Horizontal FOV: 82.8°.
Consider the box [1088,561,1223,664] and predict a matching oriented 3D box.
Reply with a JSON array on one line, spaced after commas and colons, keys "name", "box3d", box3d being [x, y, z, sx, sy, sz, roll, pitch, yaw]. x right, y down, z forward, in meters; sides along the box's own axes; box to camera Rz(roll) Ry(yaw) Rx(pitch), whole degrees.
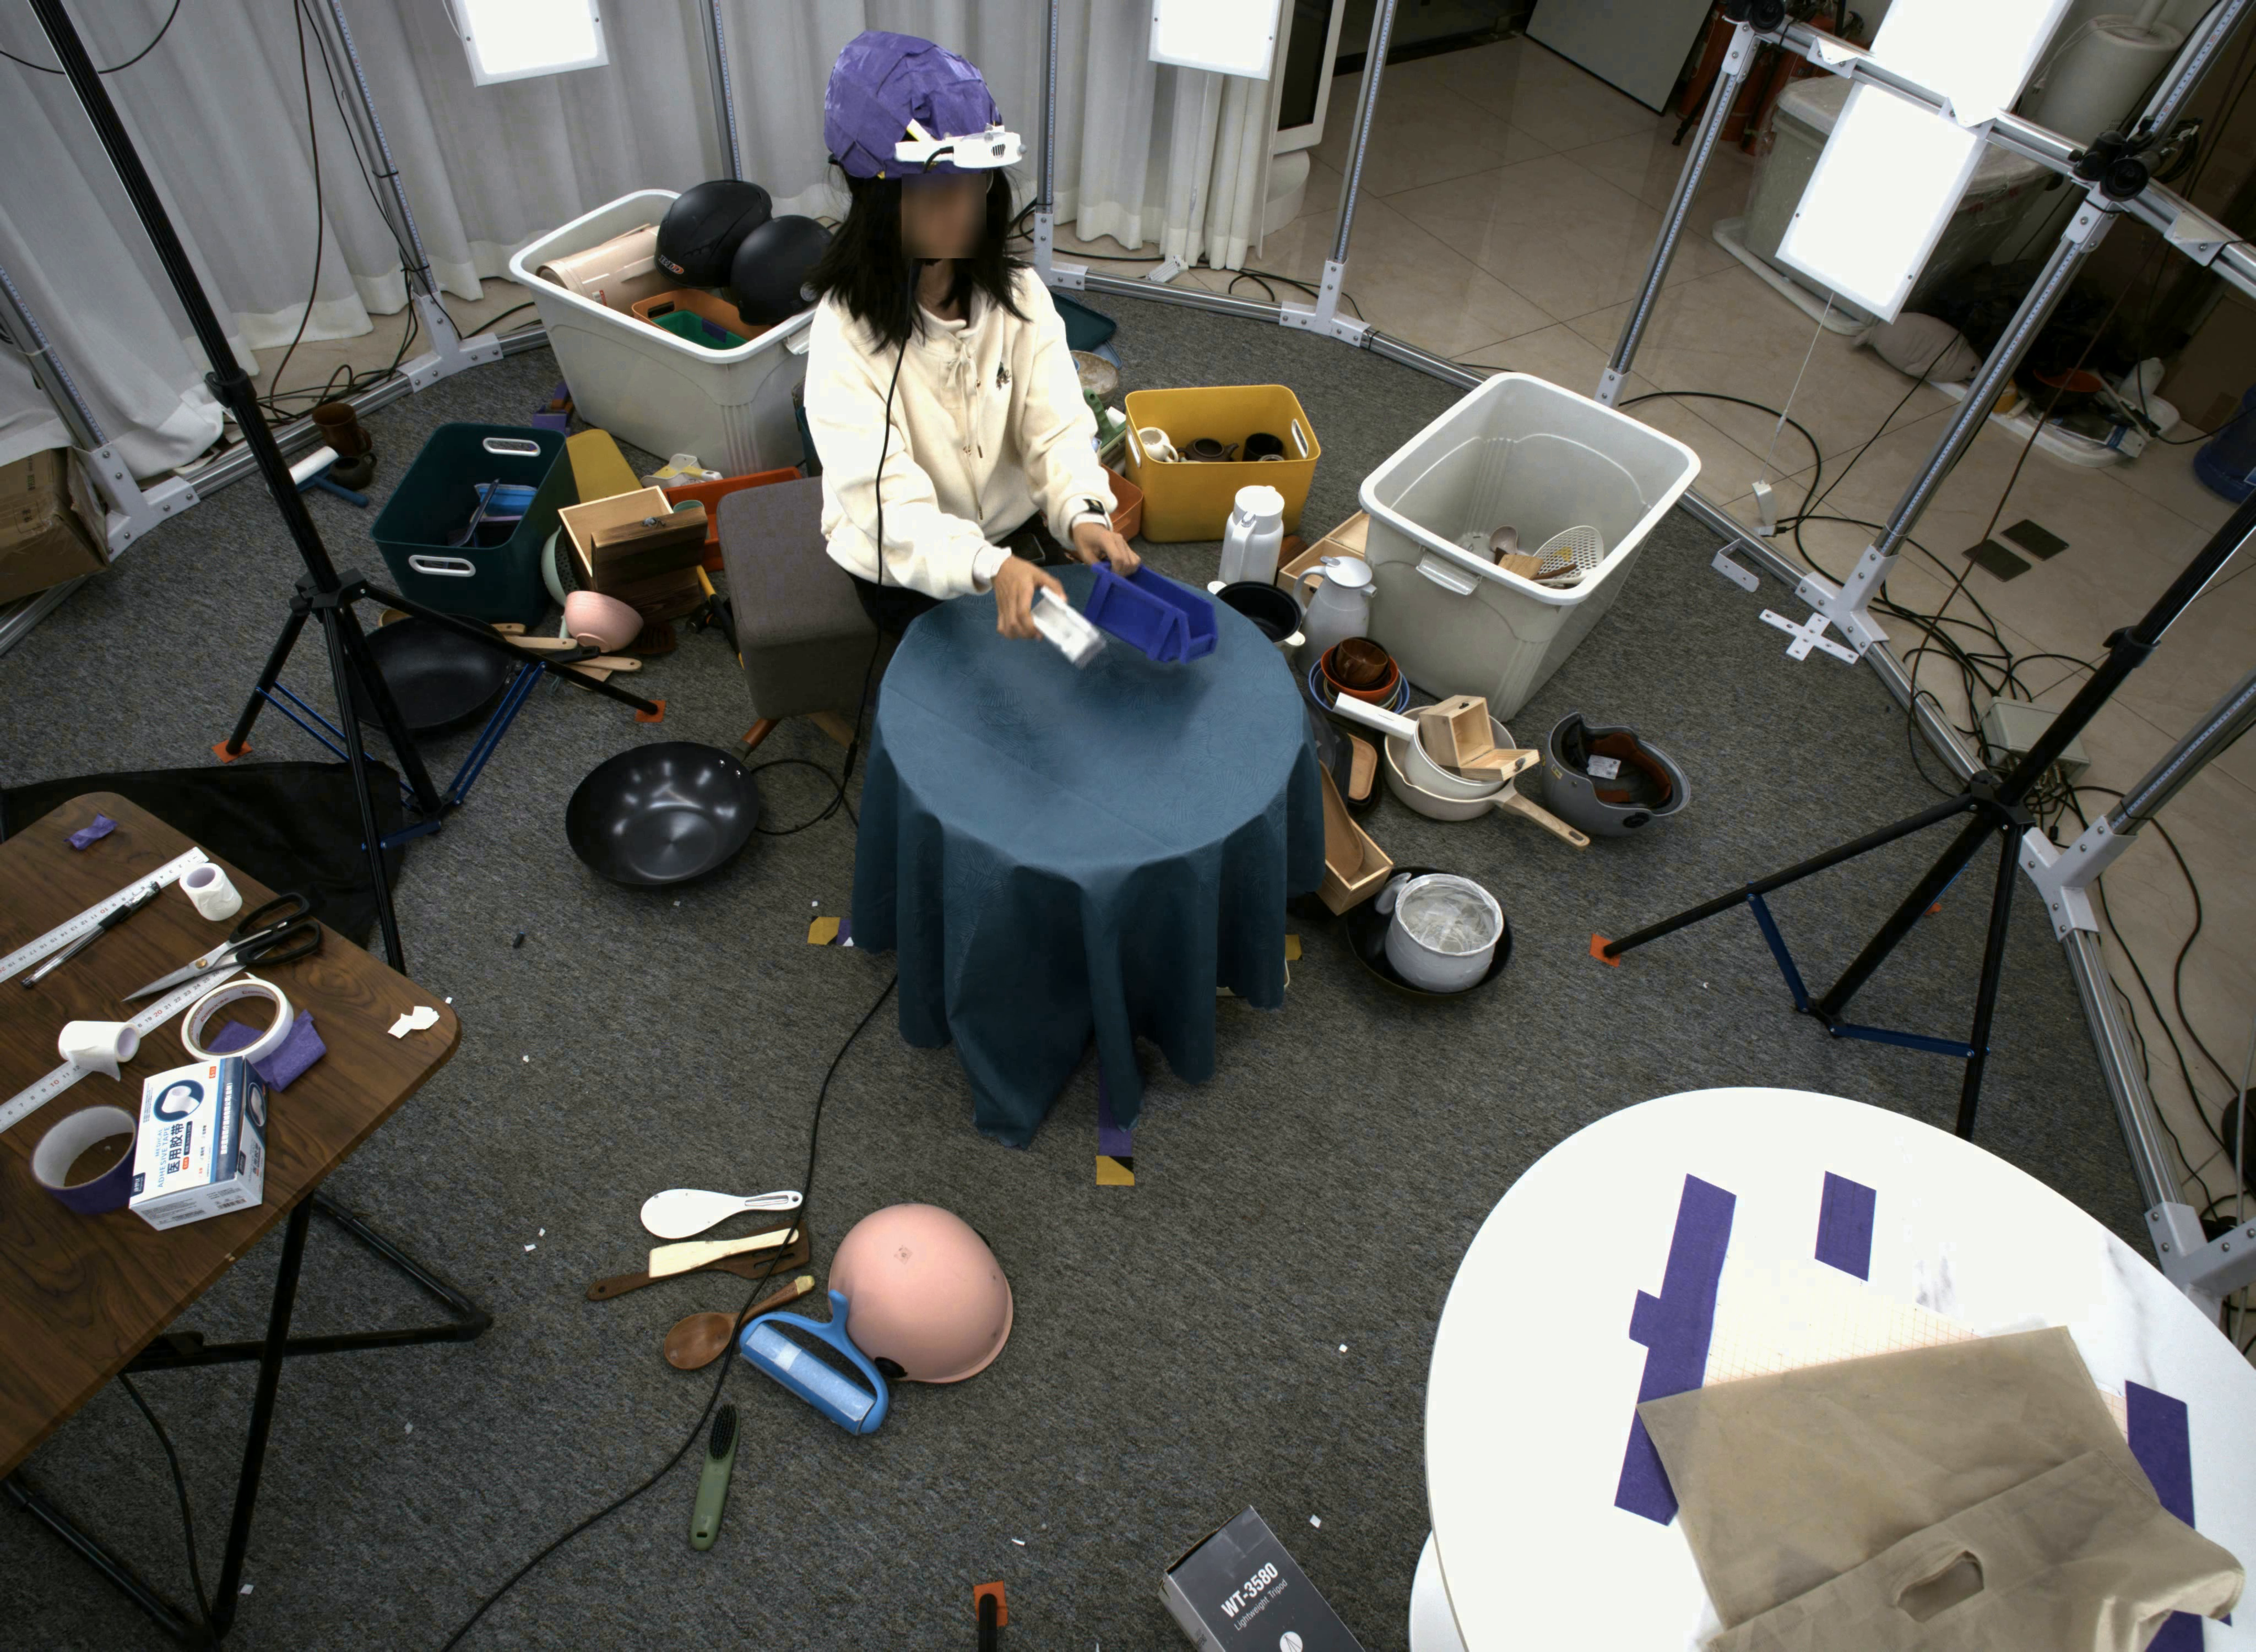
[{"name": "box", "box3d": [0.042, -0.297, 1.813, 0.181, 0.081, 0.125, 30, 23, 16]}]

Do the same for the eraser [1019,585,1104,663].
[{"name": "eraser", "box3d": [-0.087, -0.269, 1.703, 0.050, 0.045, 0.137, -48, 44, 1]}]
